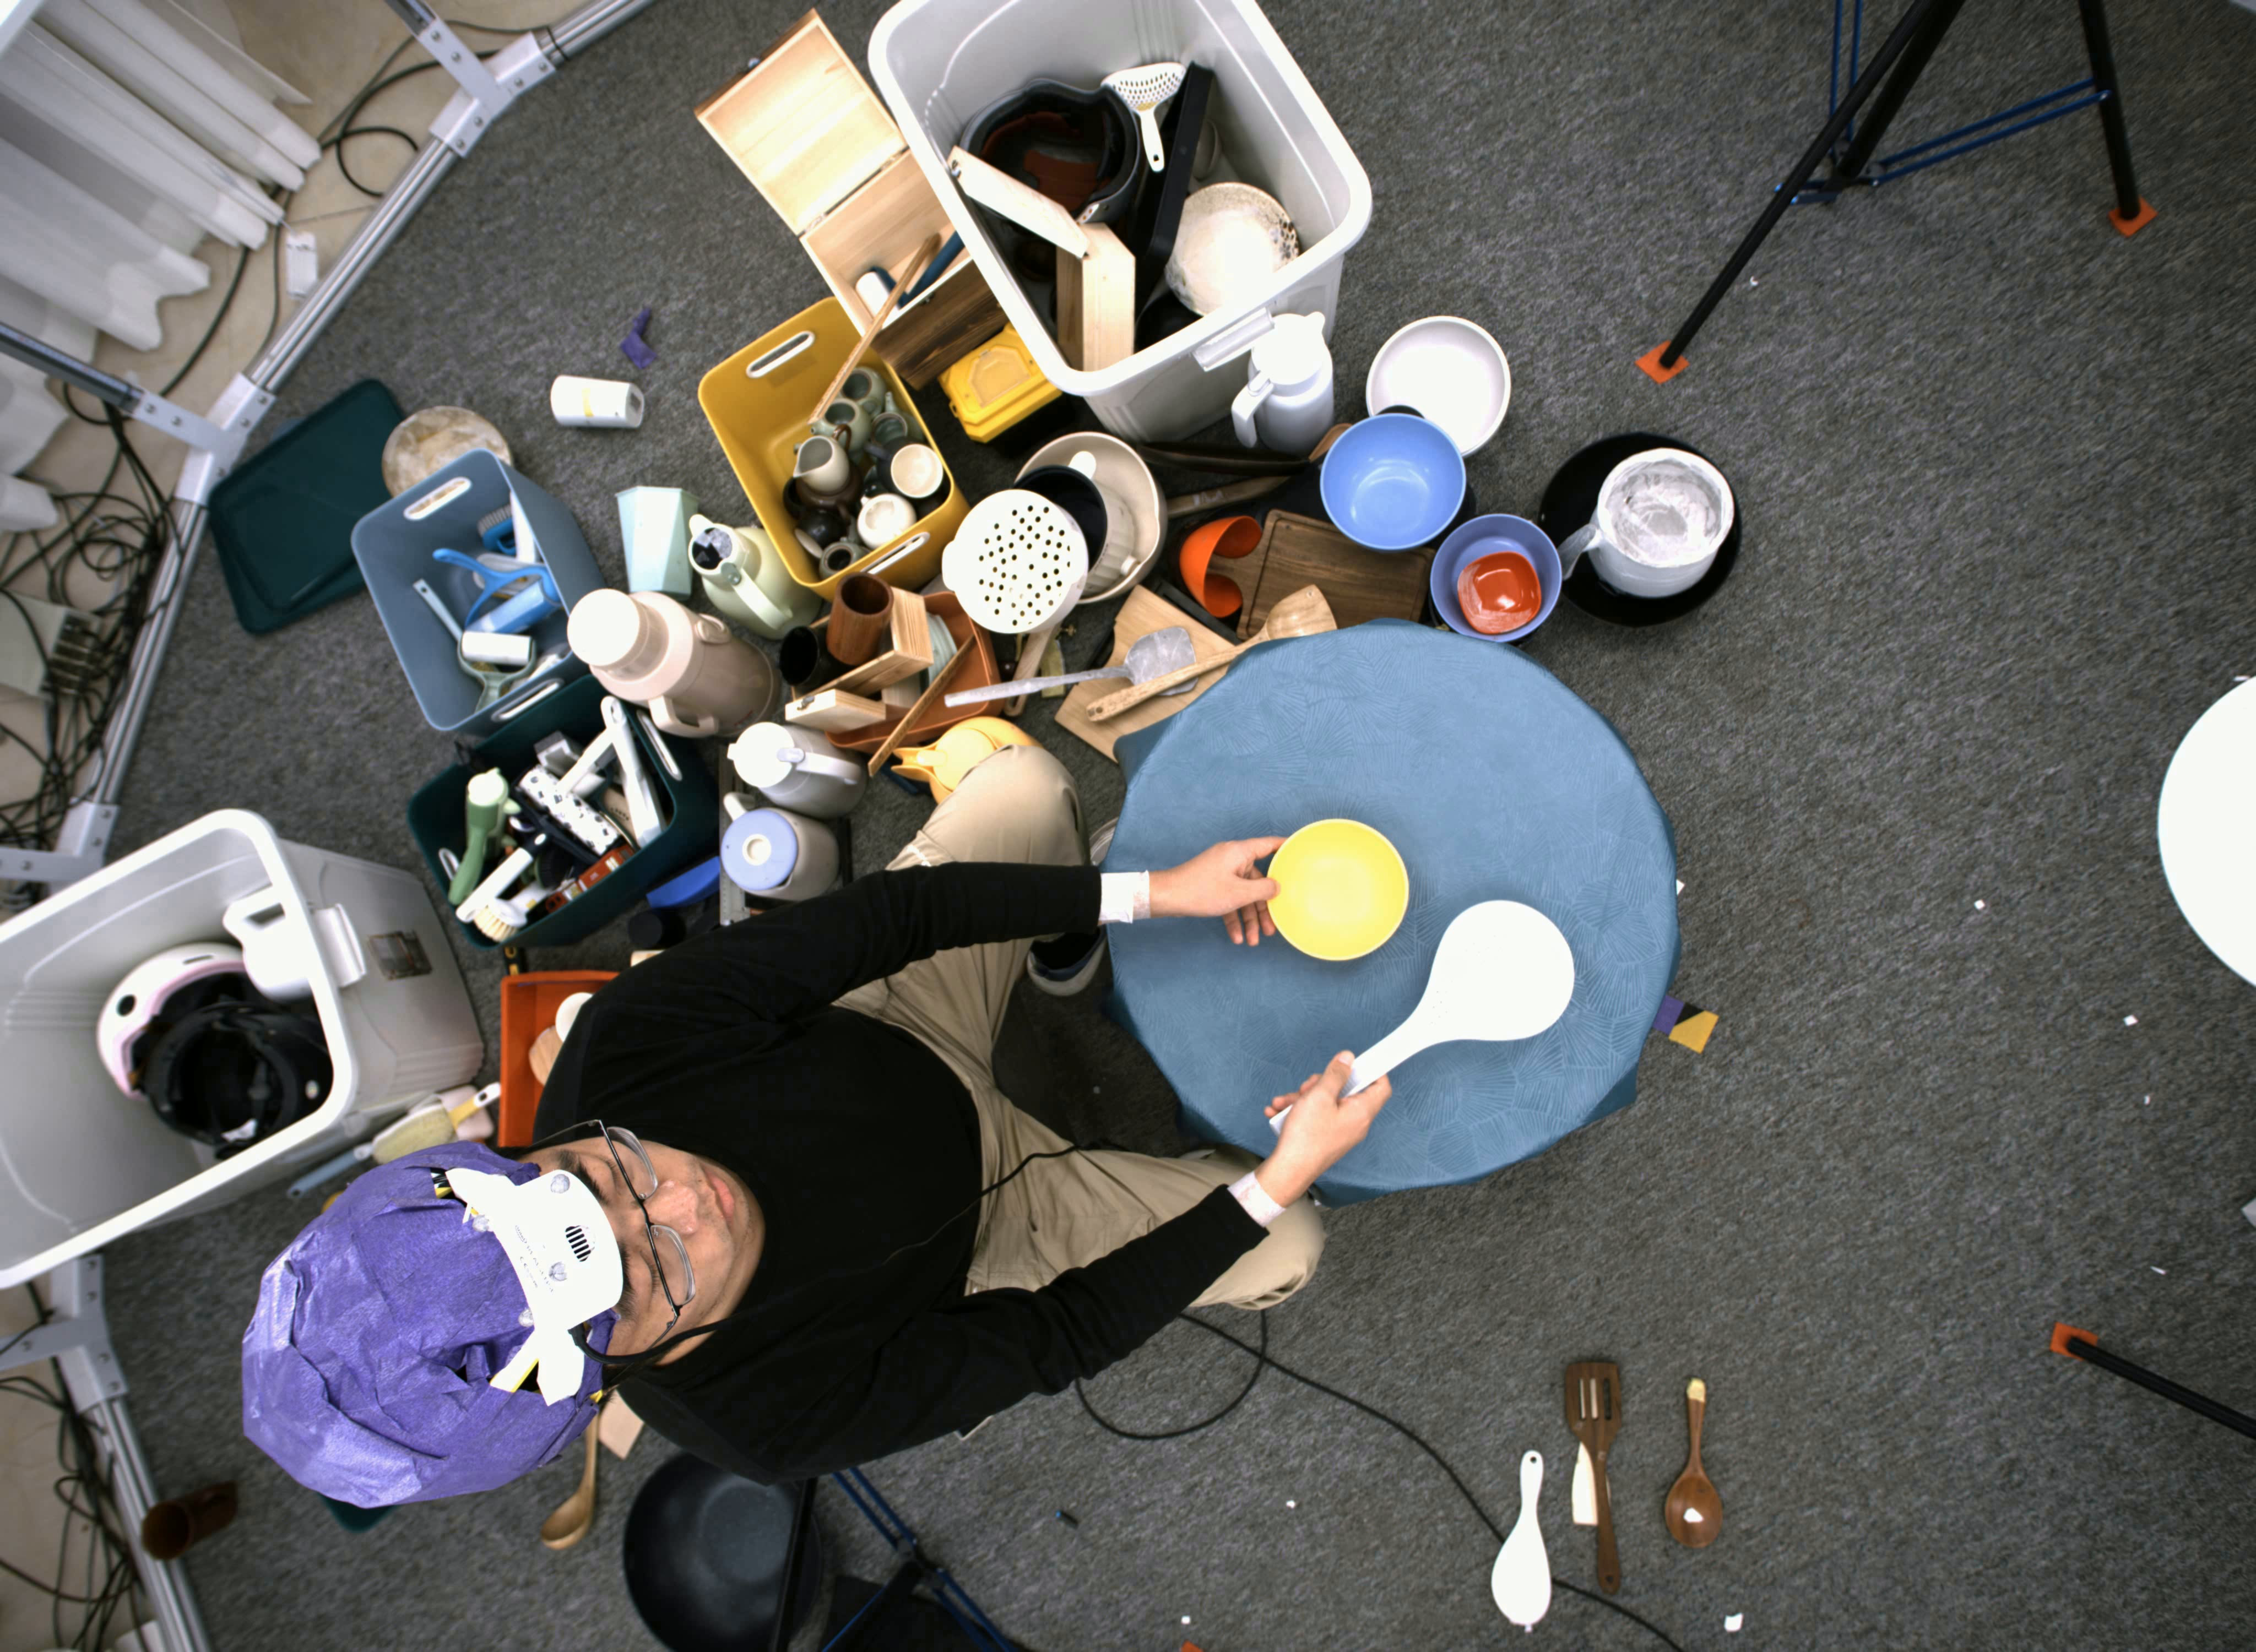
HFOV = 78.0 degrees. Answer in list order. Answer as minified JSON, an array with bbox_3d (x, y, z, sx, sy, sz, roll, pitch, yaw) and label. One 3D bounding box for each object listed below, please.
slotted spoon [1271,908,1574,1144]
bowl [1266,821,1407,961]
[{"bbox_3d":[0.289,0.205,1.366,0.347,0.046,0.135,-32,79,-13],"label":"slotted spoon"},{"bbox_3d":[0.216,0.069,1.441,0.146,0.060,0.144,-1,84,8],"label":"bowl"}]
